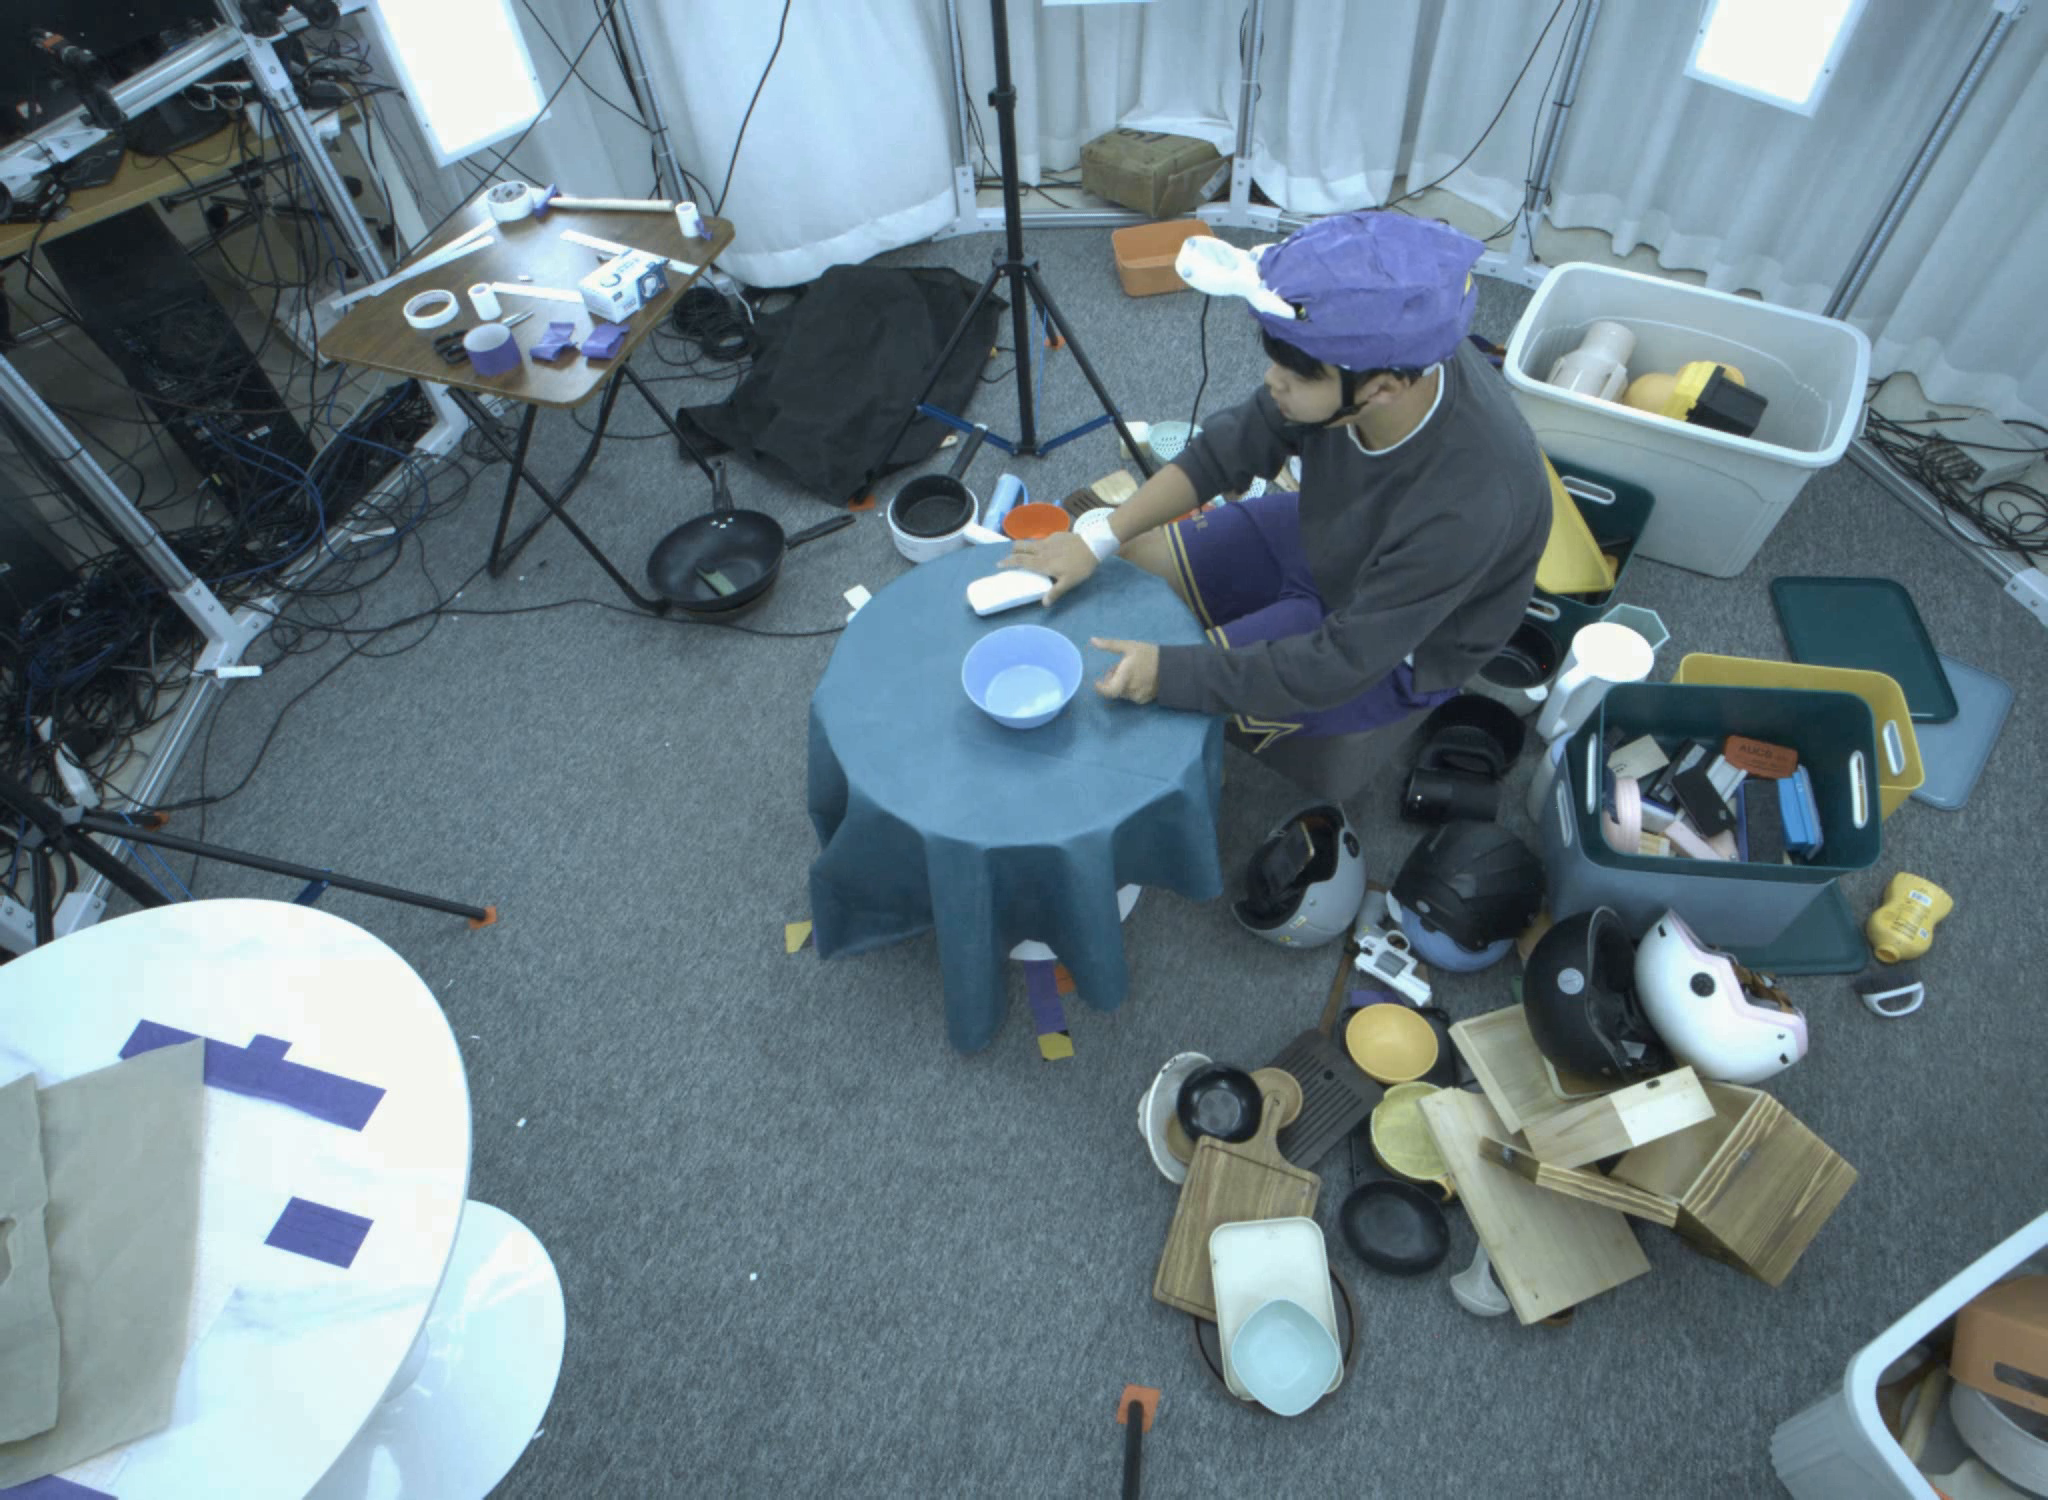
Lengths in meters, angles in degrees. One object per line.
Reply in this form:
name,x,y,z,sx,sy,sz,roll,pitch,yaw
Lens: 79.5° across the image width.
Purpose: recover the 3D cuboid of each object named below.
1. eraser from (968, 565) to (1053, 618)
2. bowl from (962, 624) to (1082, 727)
eraser,-0.021,-0.252,1.950,0.132,0.035,0.062,-17,57,-7
bowl,-0.002,-0.100,1.817,0.176,0.071,0.174,-1,55,2
